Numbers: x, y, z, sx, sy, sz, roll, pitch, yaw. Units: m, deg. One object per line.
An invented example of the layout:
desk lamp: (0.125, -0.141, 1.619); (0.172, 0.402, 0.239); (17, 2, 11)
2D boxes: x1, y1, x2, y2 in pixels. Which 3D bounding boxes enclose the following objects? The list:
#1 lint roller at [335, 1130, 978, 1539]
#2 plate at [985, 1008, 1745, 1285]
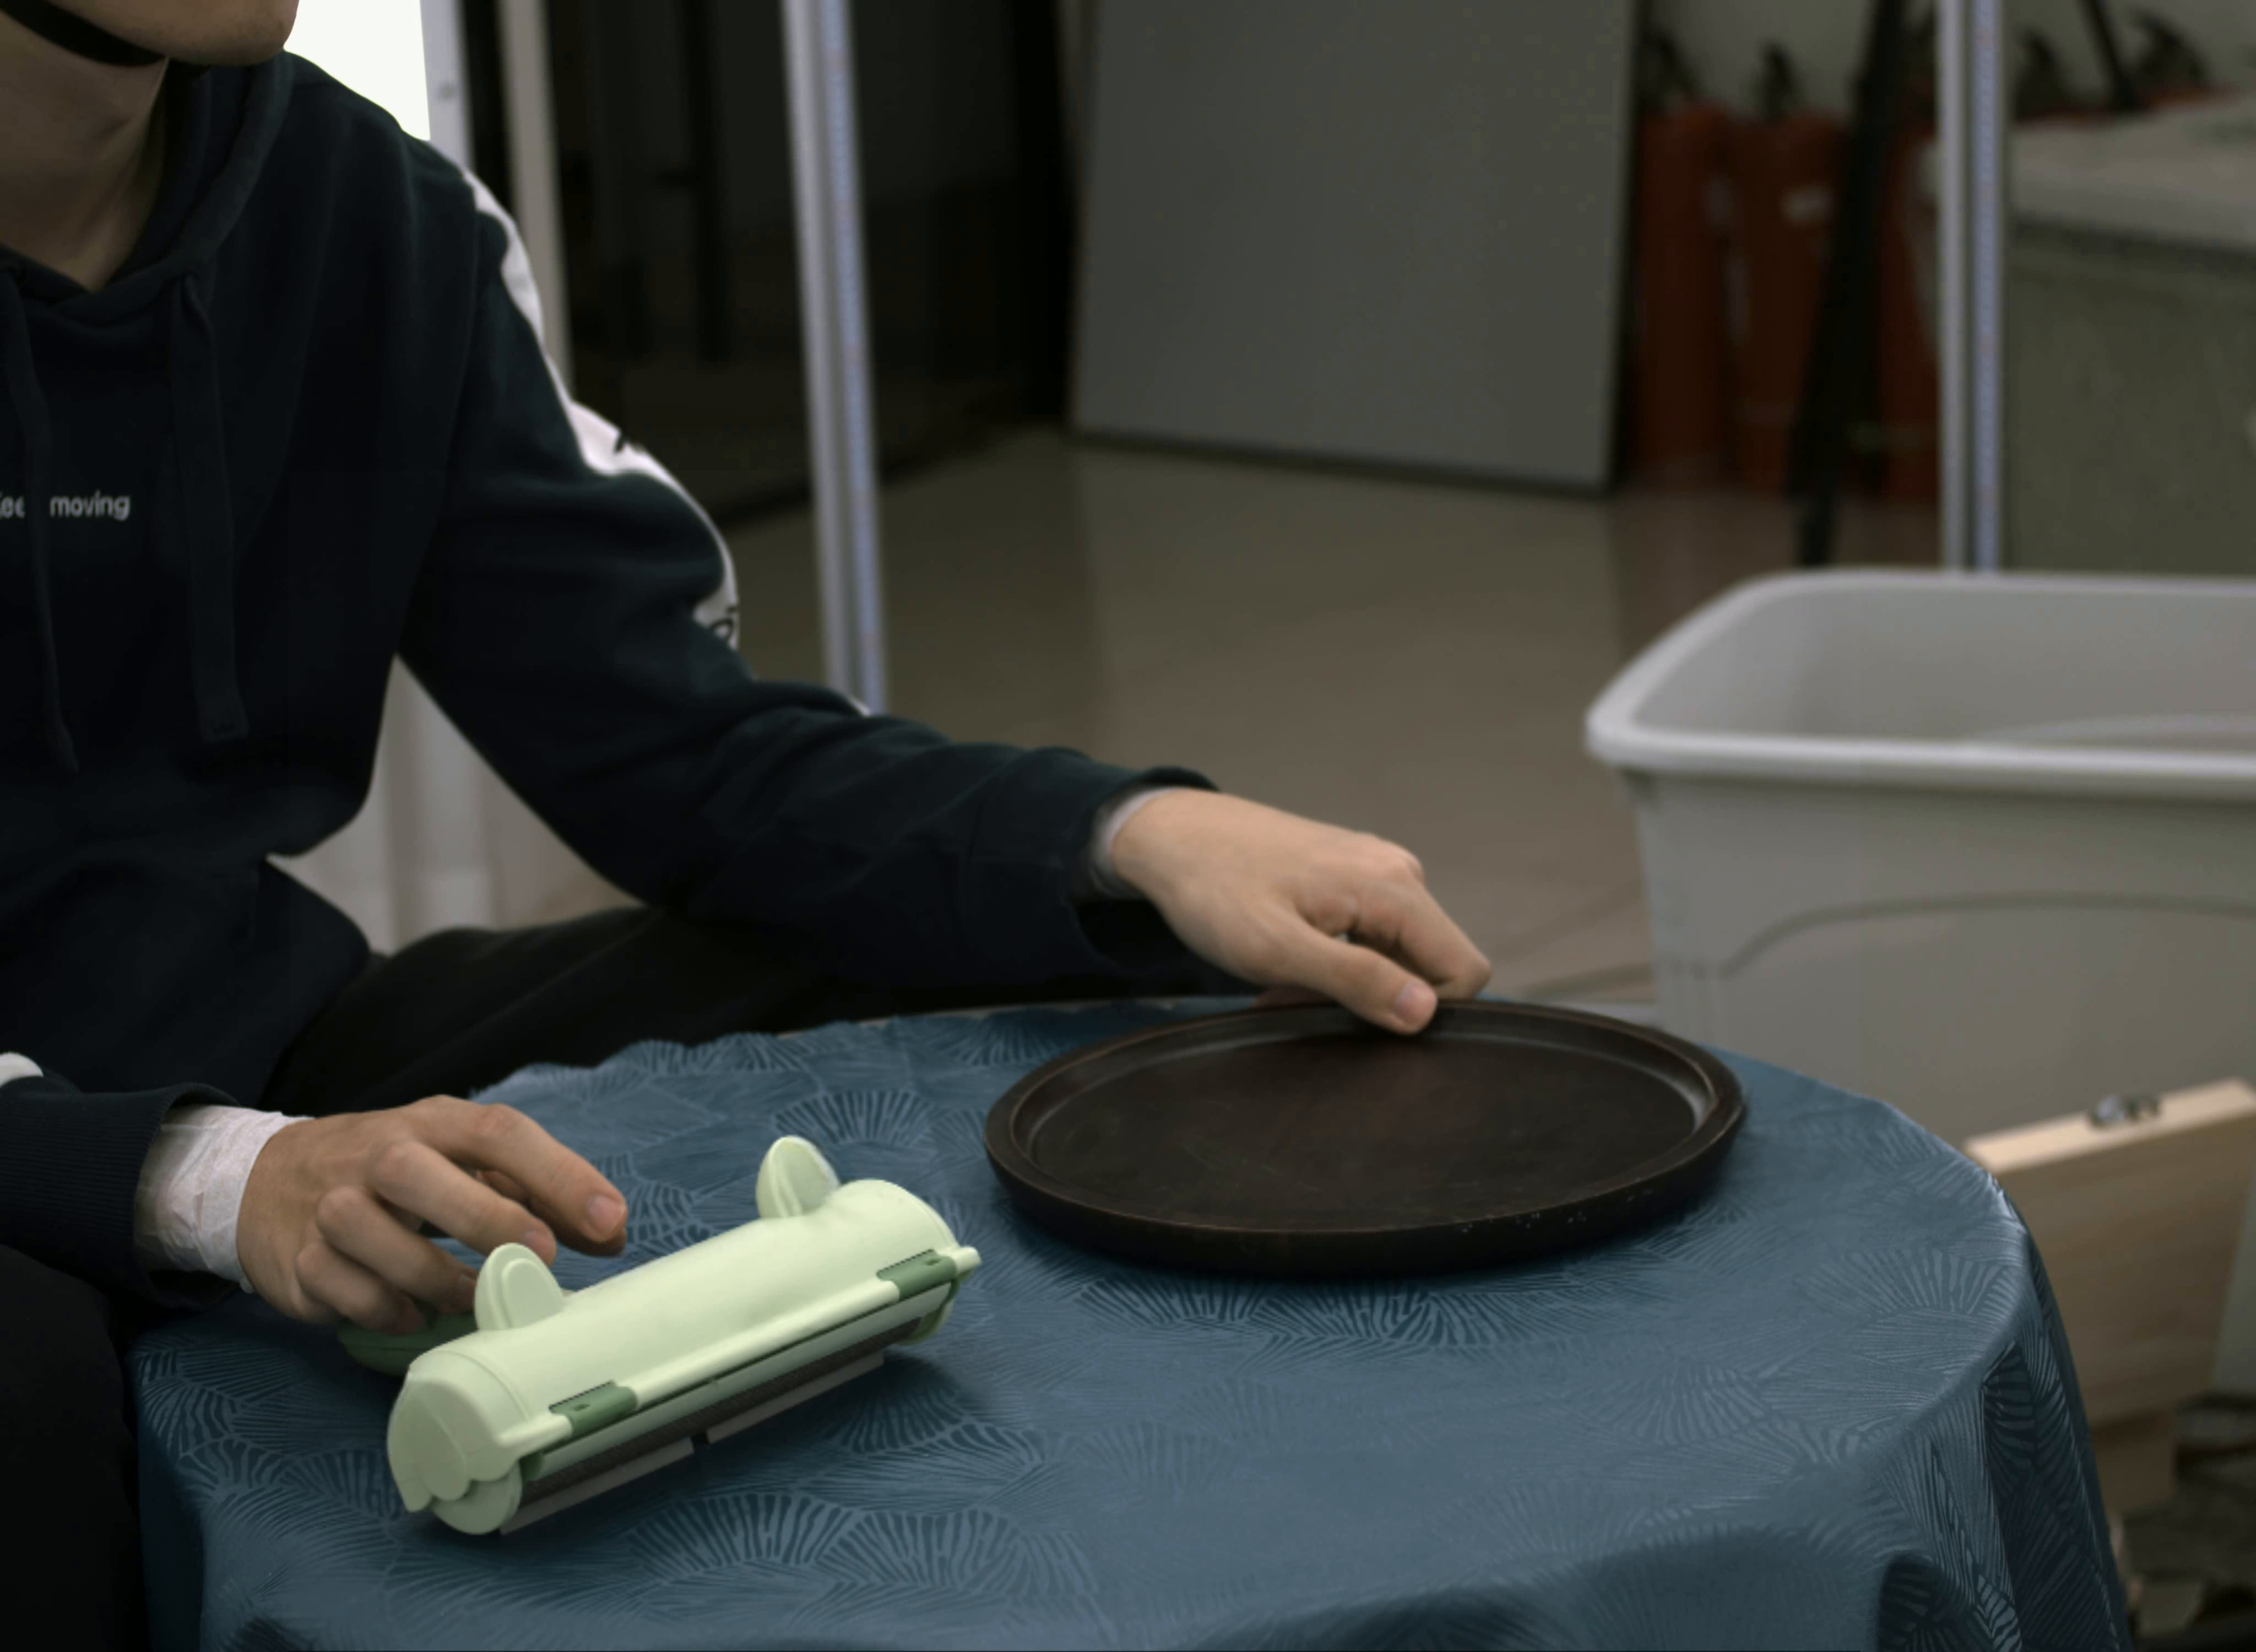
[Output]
lint roller: (-0.171, 0.135, 1.595); (0.185, 0.083, 0.195); (13, 21, 39)
plate: (0.078, 0.103, 1.774); (0.251, 0.029, 0.255); (-4, 15, 0)
